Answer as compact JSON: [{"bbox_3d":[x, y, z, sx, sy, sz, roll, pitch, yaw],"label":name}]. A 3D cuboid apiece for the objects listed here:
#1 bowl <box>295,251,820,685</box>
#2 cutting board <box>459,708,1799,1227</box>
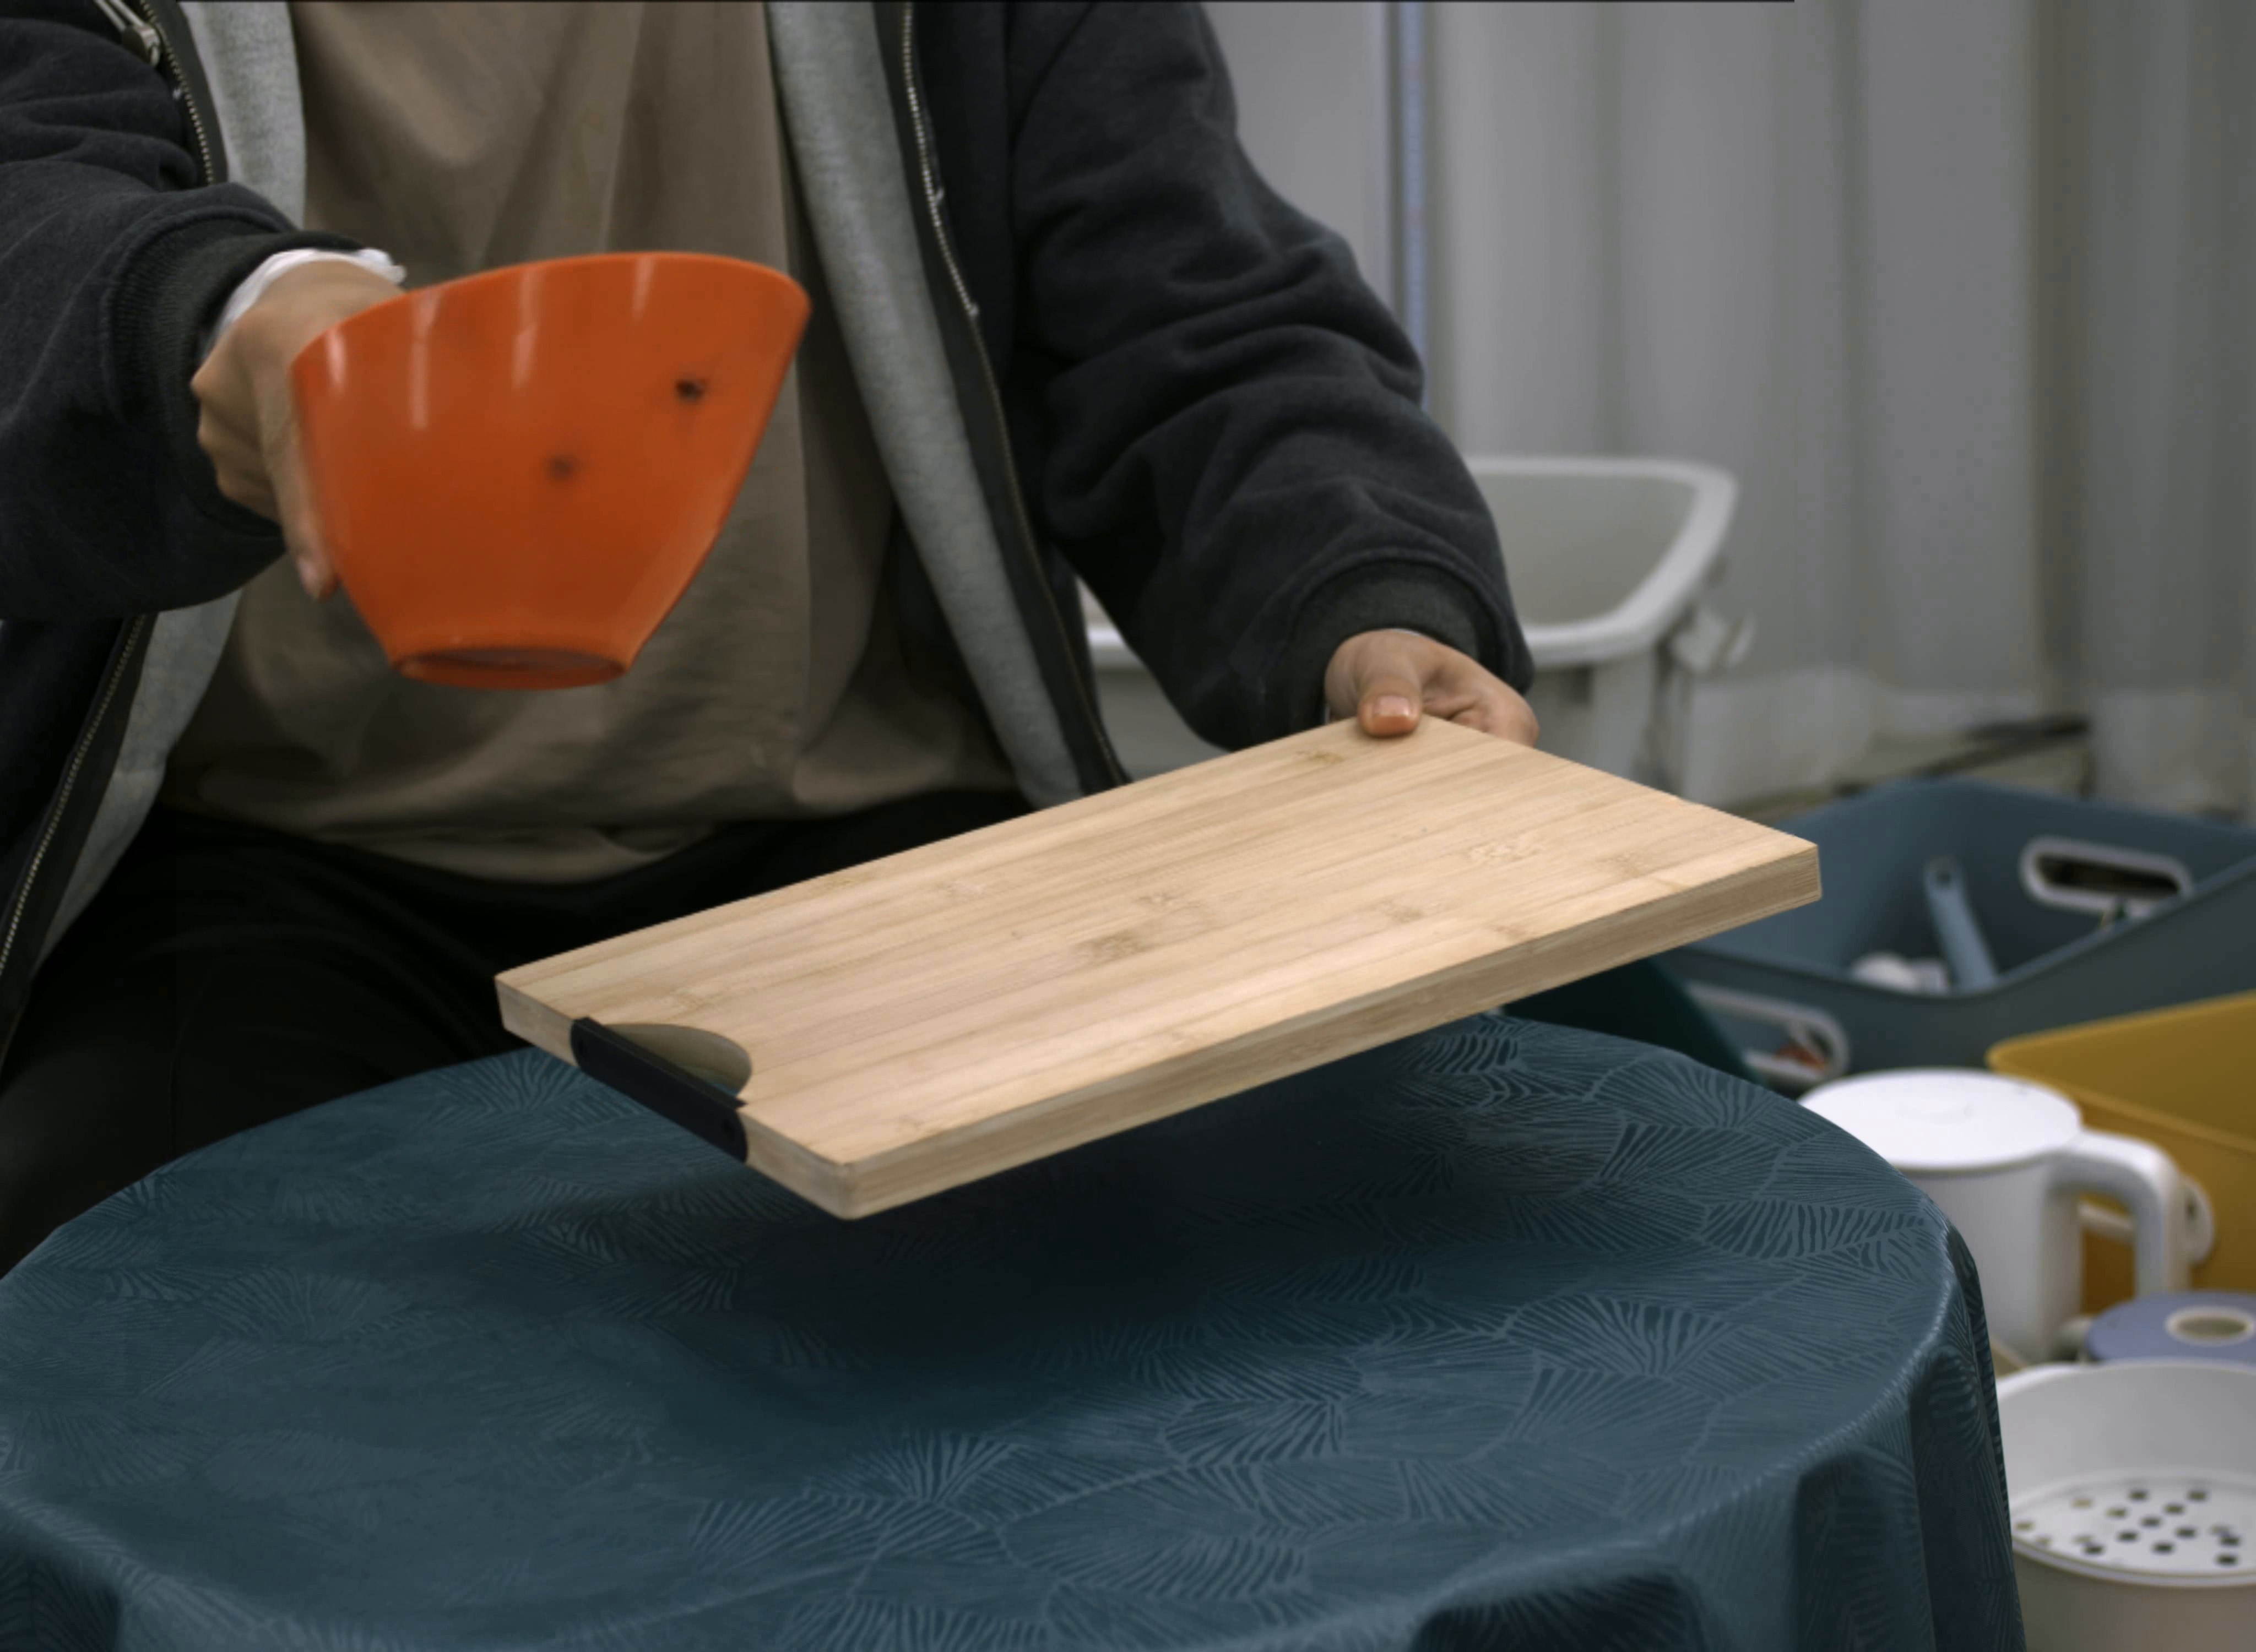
[{"bbox_3d":[-0.160,-0.097,1.535,0.147,0.105,0.147,0,-9,0],"label":"bowl"},{"bbox_3d":[0.000,0.037,1.682,0.348,0.023,0.252,-17,19,-27],"label":"cutting board"}]
